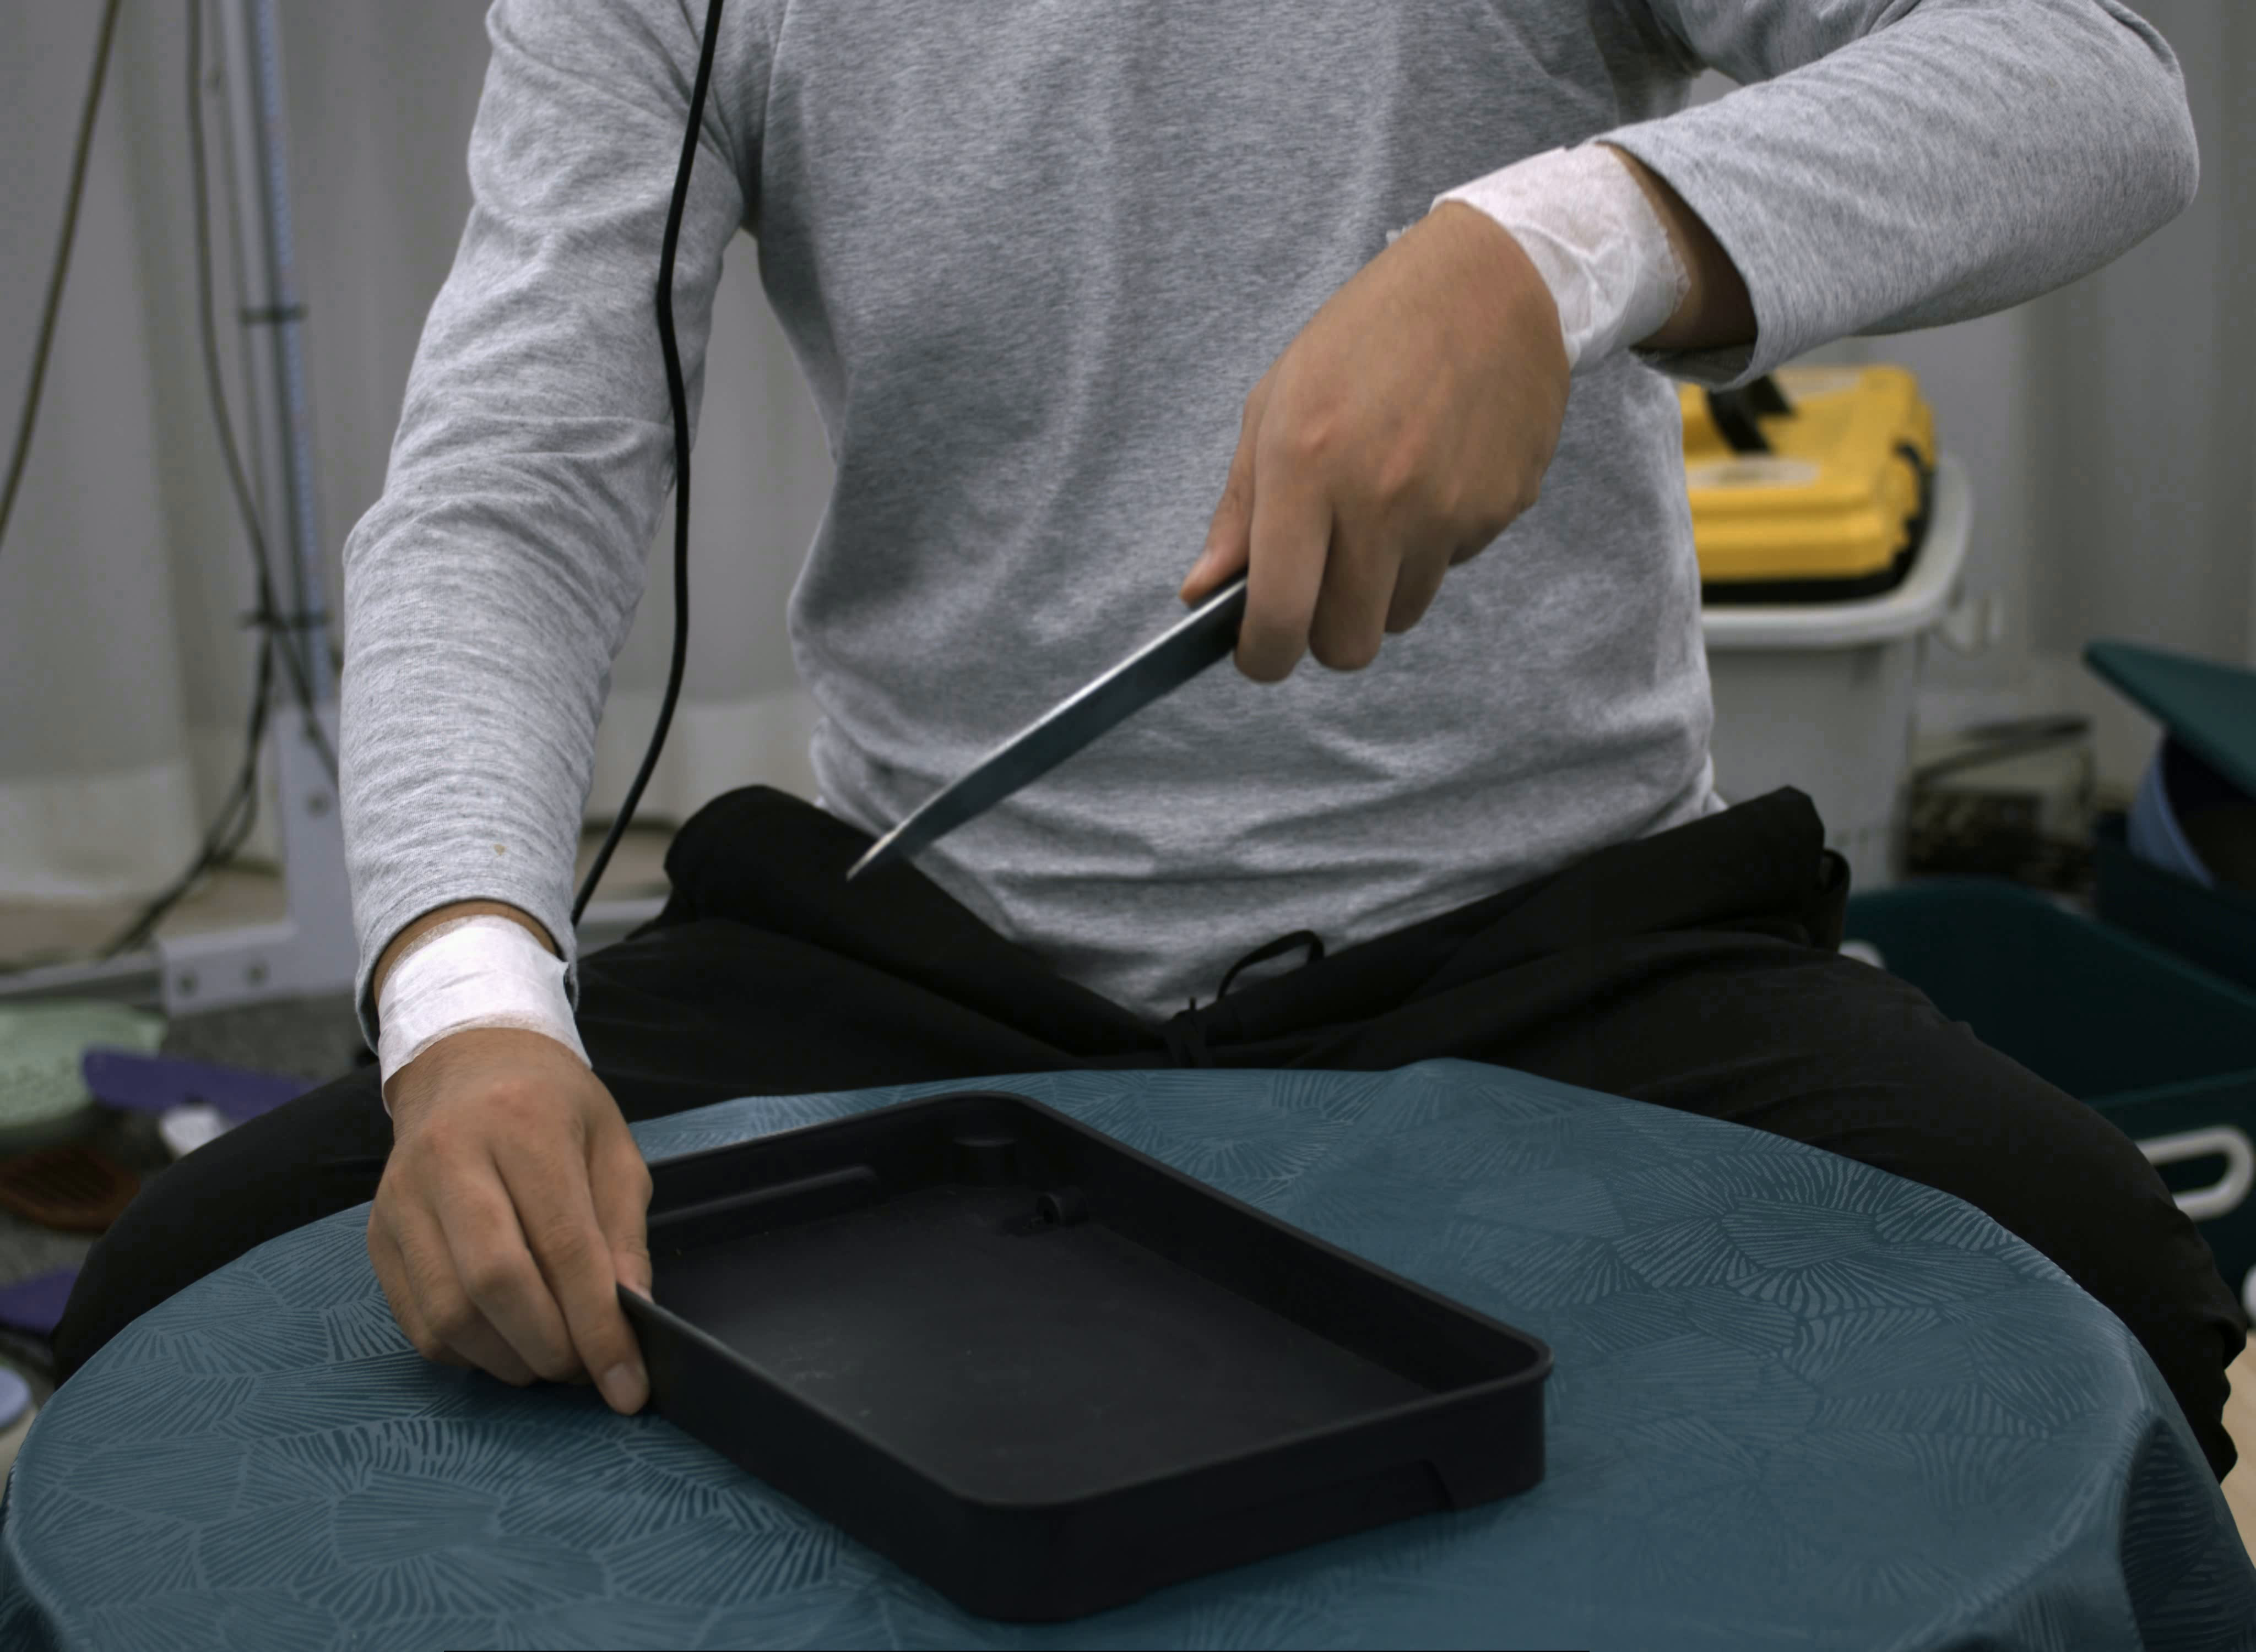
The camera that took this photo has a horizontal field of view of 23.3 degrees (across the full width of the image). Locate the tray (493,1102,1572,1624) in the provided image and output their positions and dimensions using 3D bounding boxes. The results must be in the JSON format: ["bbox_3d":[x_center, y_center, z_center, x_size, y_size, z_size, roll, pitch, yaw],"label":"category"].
[{"bbox_3d":[-0.034,0.145,1.543,0.183,0.037,0.320,-11,16,-31],"label":"tray"}]

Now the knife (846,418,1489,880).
[{"bbox_3d":[0.012,-0.052,1.554,0.238,0.024,0.016,-35,53,-22],"label":"knife"}]
